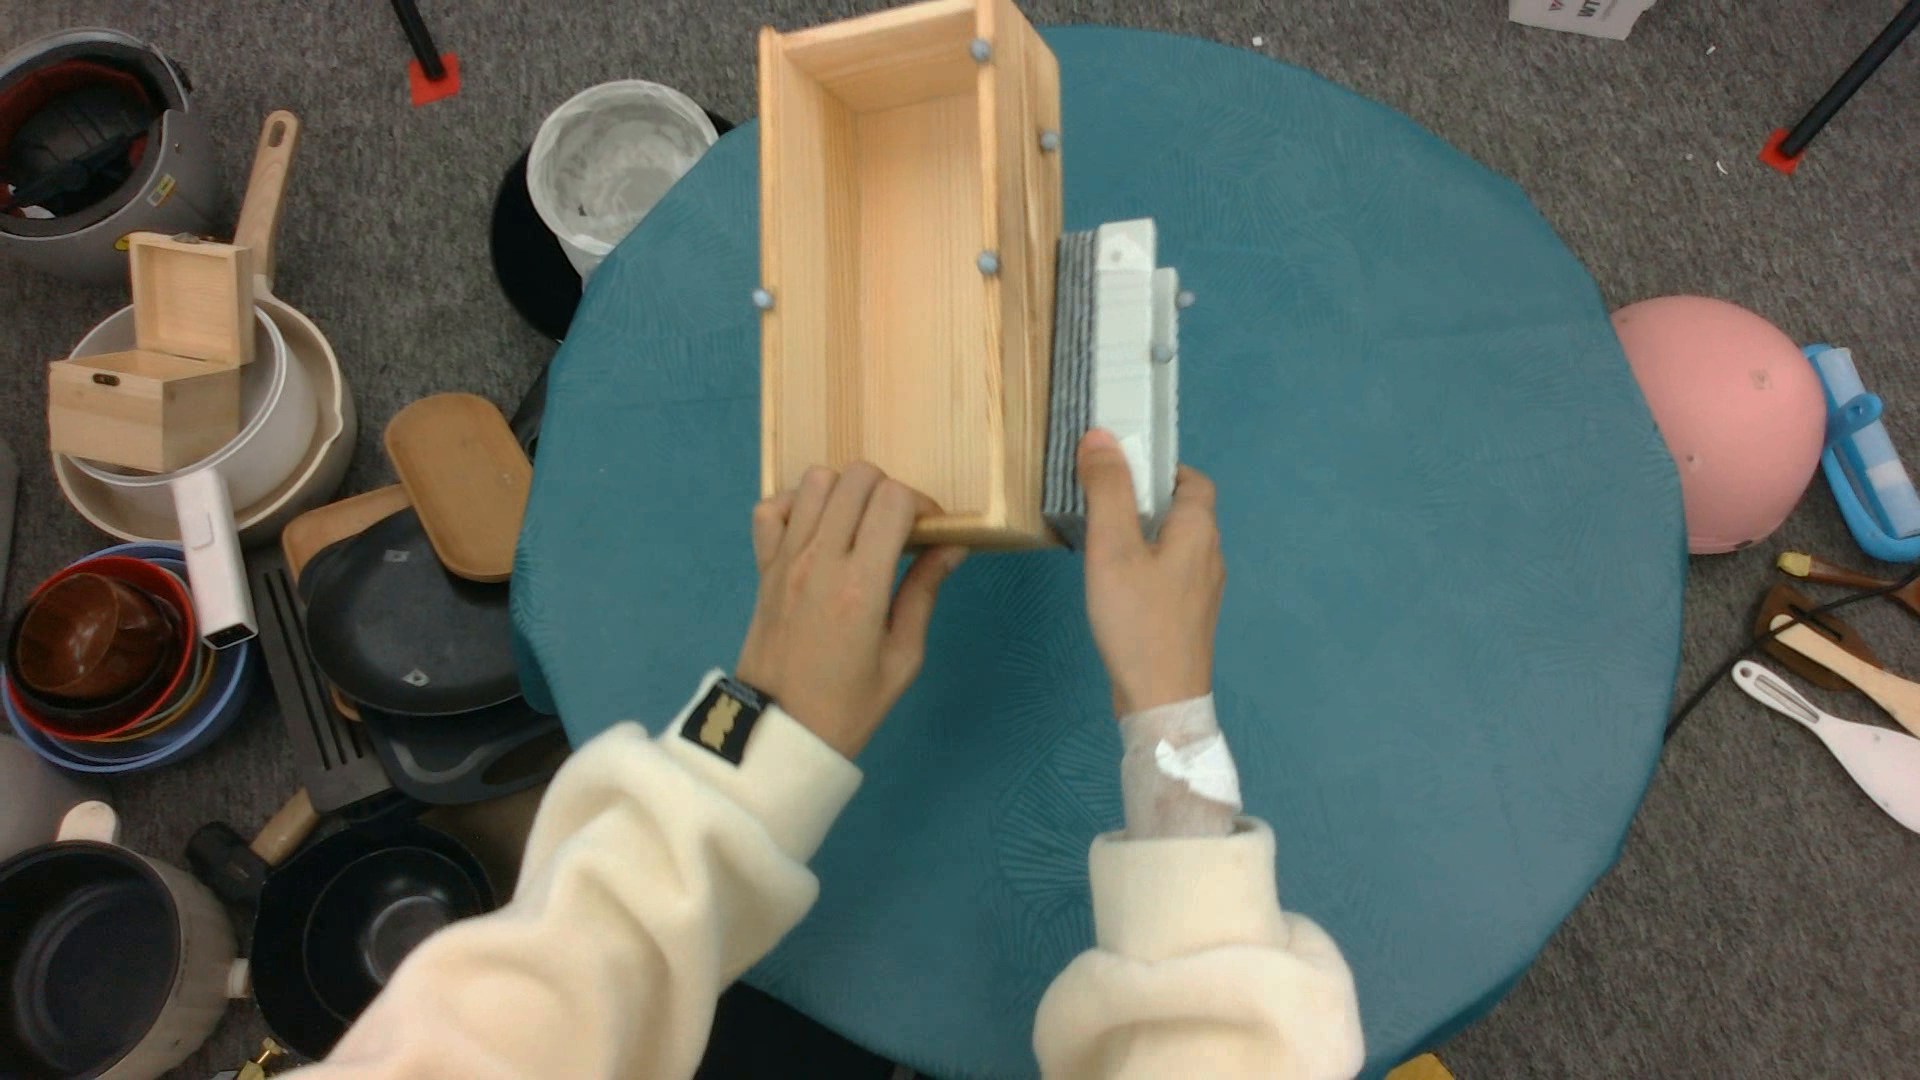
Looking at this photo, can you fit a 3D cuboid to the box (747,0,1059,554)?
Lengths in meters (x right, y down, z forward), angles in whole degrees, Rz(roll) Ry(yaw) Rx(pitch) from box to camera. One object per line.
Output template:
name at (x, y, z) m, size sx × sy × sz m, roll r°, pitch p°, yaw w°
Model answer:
box at (-0.023, -0.105, 0.576) m, size 0.107 × 0.080 × 0.211 m, roll -4°, pitch 82°, yaw 22°

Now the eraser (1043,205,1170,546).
eraser at (0.062, -0.068, 0.580) m, size 0.046 × 0.049 × 0.134 m, roll -5°, pitch 70°, yaw 18°
